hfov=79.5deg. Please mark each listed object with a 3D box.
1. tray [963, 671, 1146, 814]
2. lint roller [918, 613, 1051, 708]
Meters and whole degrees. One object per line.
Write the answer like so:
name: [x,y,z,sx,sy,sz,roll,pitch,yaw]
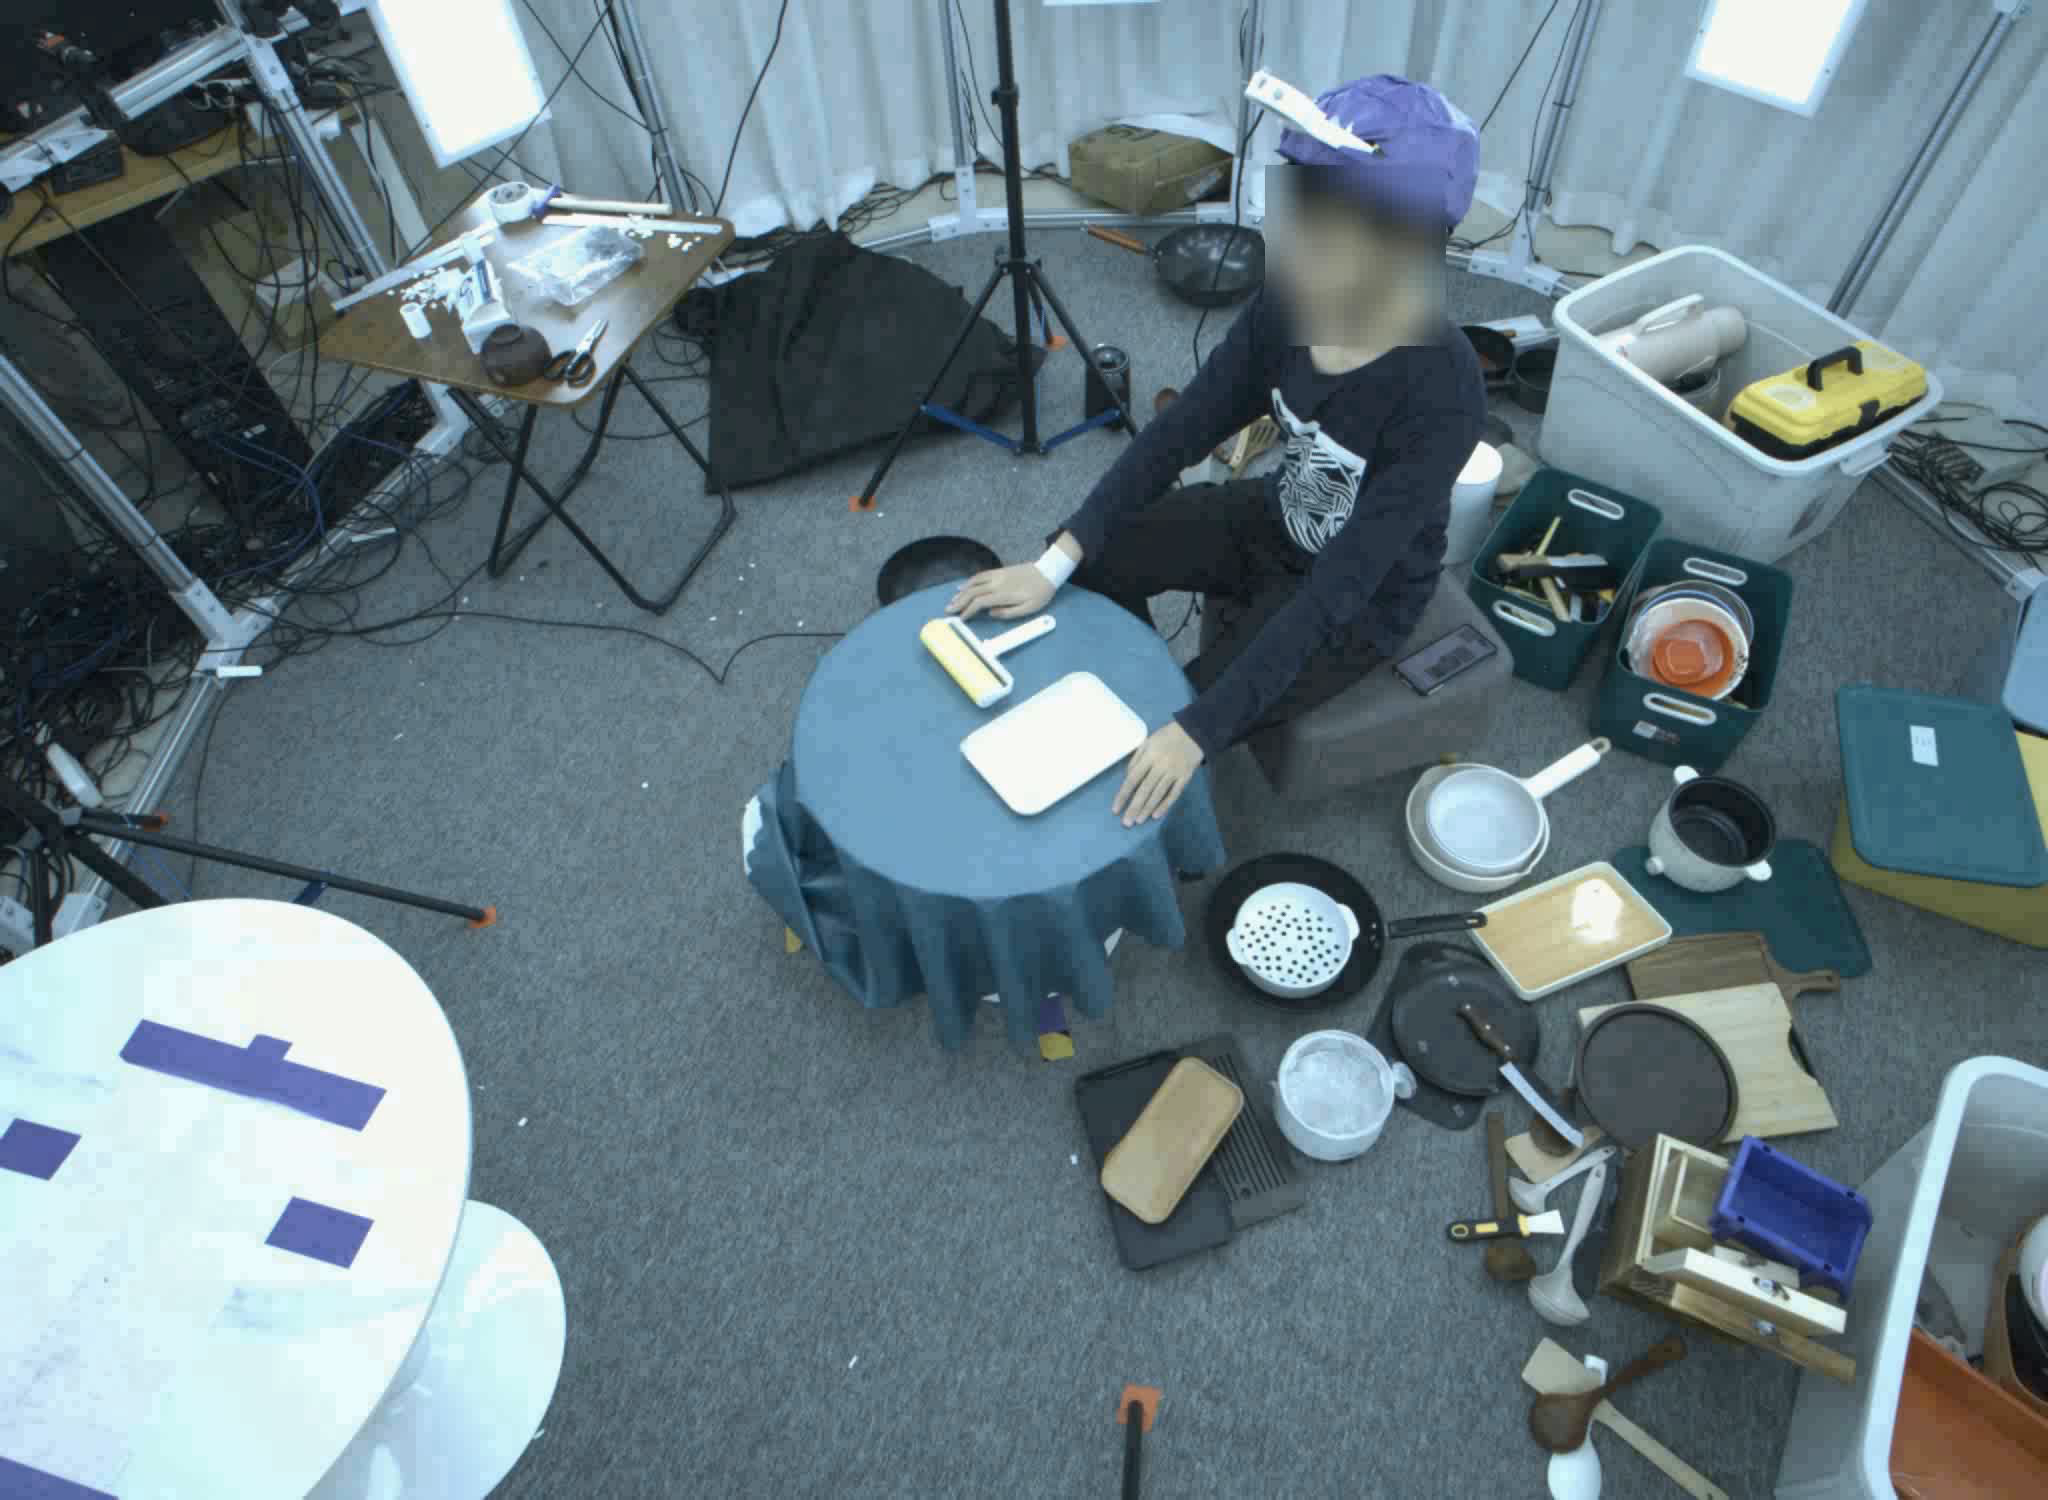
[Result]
tray: [0.045,-0.012,1.792,0.241,0.017,0.168,-32,60,-20]
lint roller: [-0.040,-0.170,1.888,0.193,0.052,0.171,-33,61,-17]
